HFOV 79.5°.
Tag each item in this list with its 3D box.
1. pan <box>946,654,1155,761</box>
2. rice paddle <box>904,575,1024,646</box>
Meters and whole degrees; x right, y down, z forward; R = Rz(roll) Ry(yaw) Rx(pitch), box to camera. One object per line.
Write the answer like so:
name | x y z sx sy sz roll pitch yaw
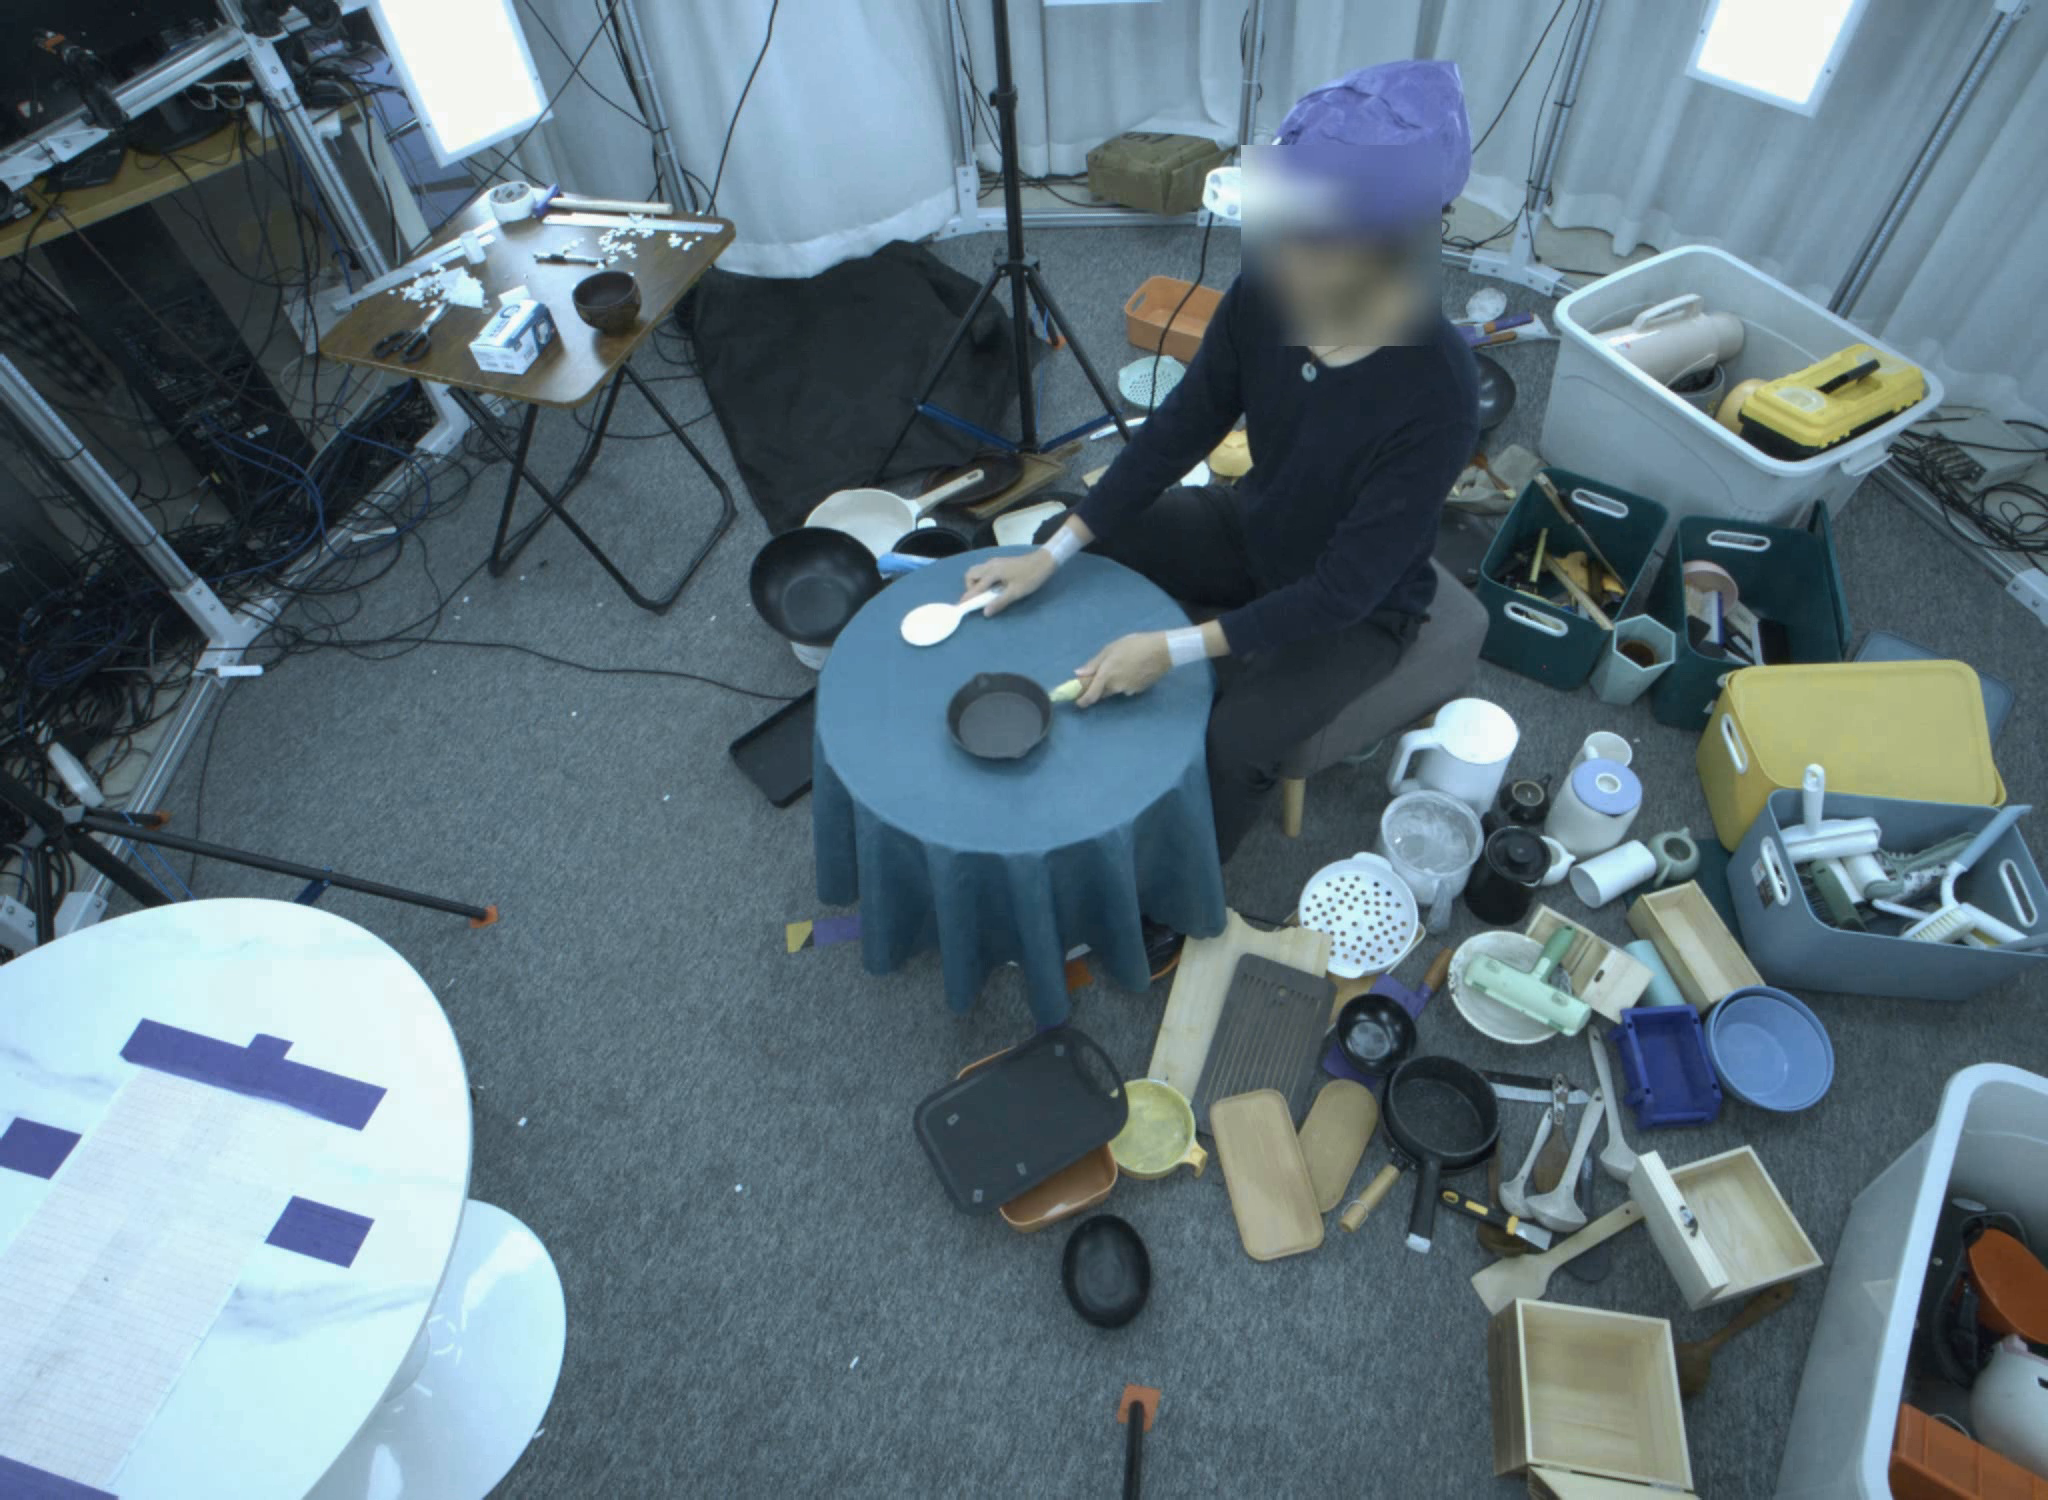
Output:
pan | 0.044 -0.076 1.808 0.326 0.050 0.166 -19 56 -9
rice paddle | -0.096 -0.221 1.929 0.207 0.029 0.068 -27 68 -16
